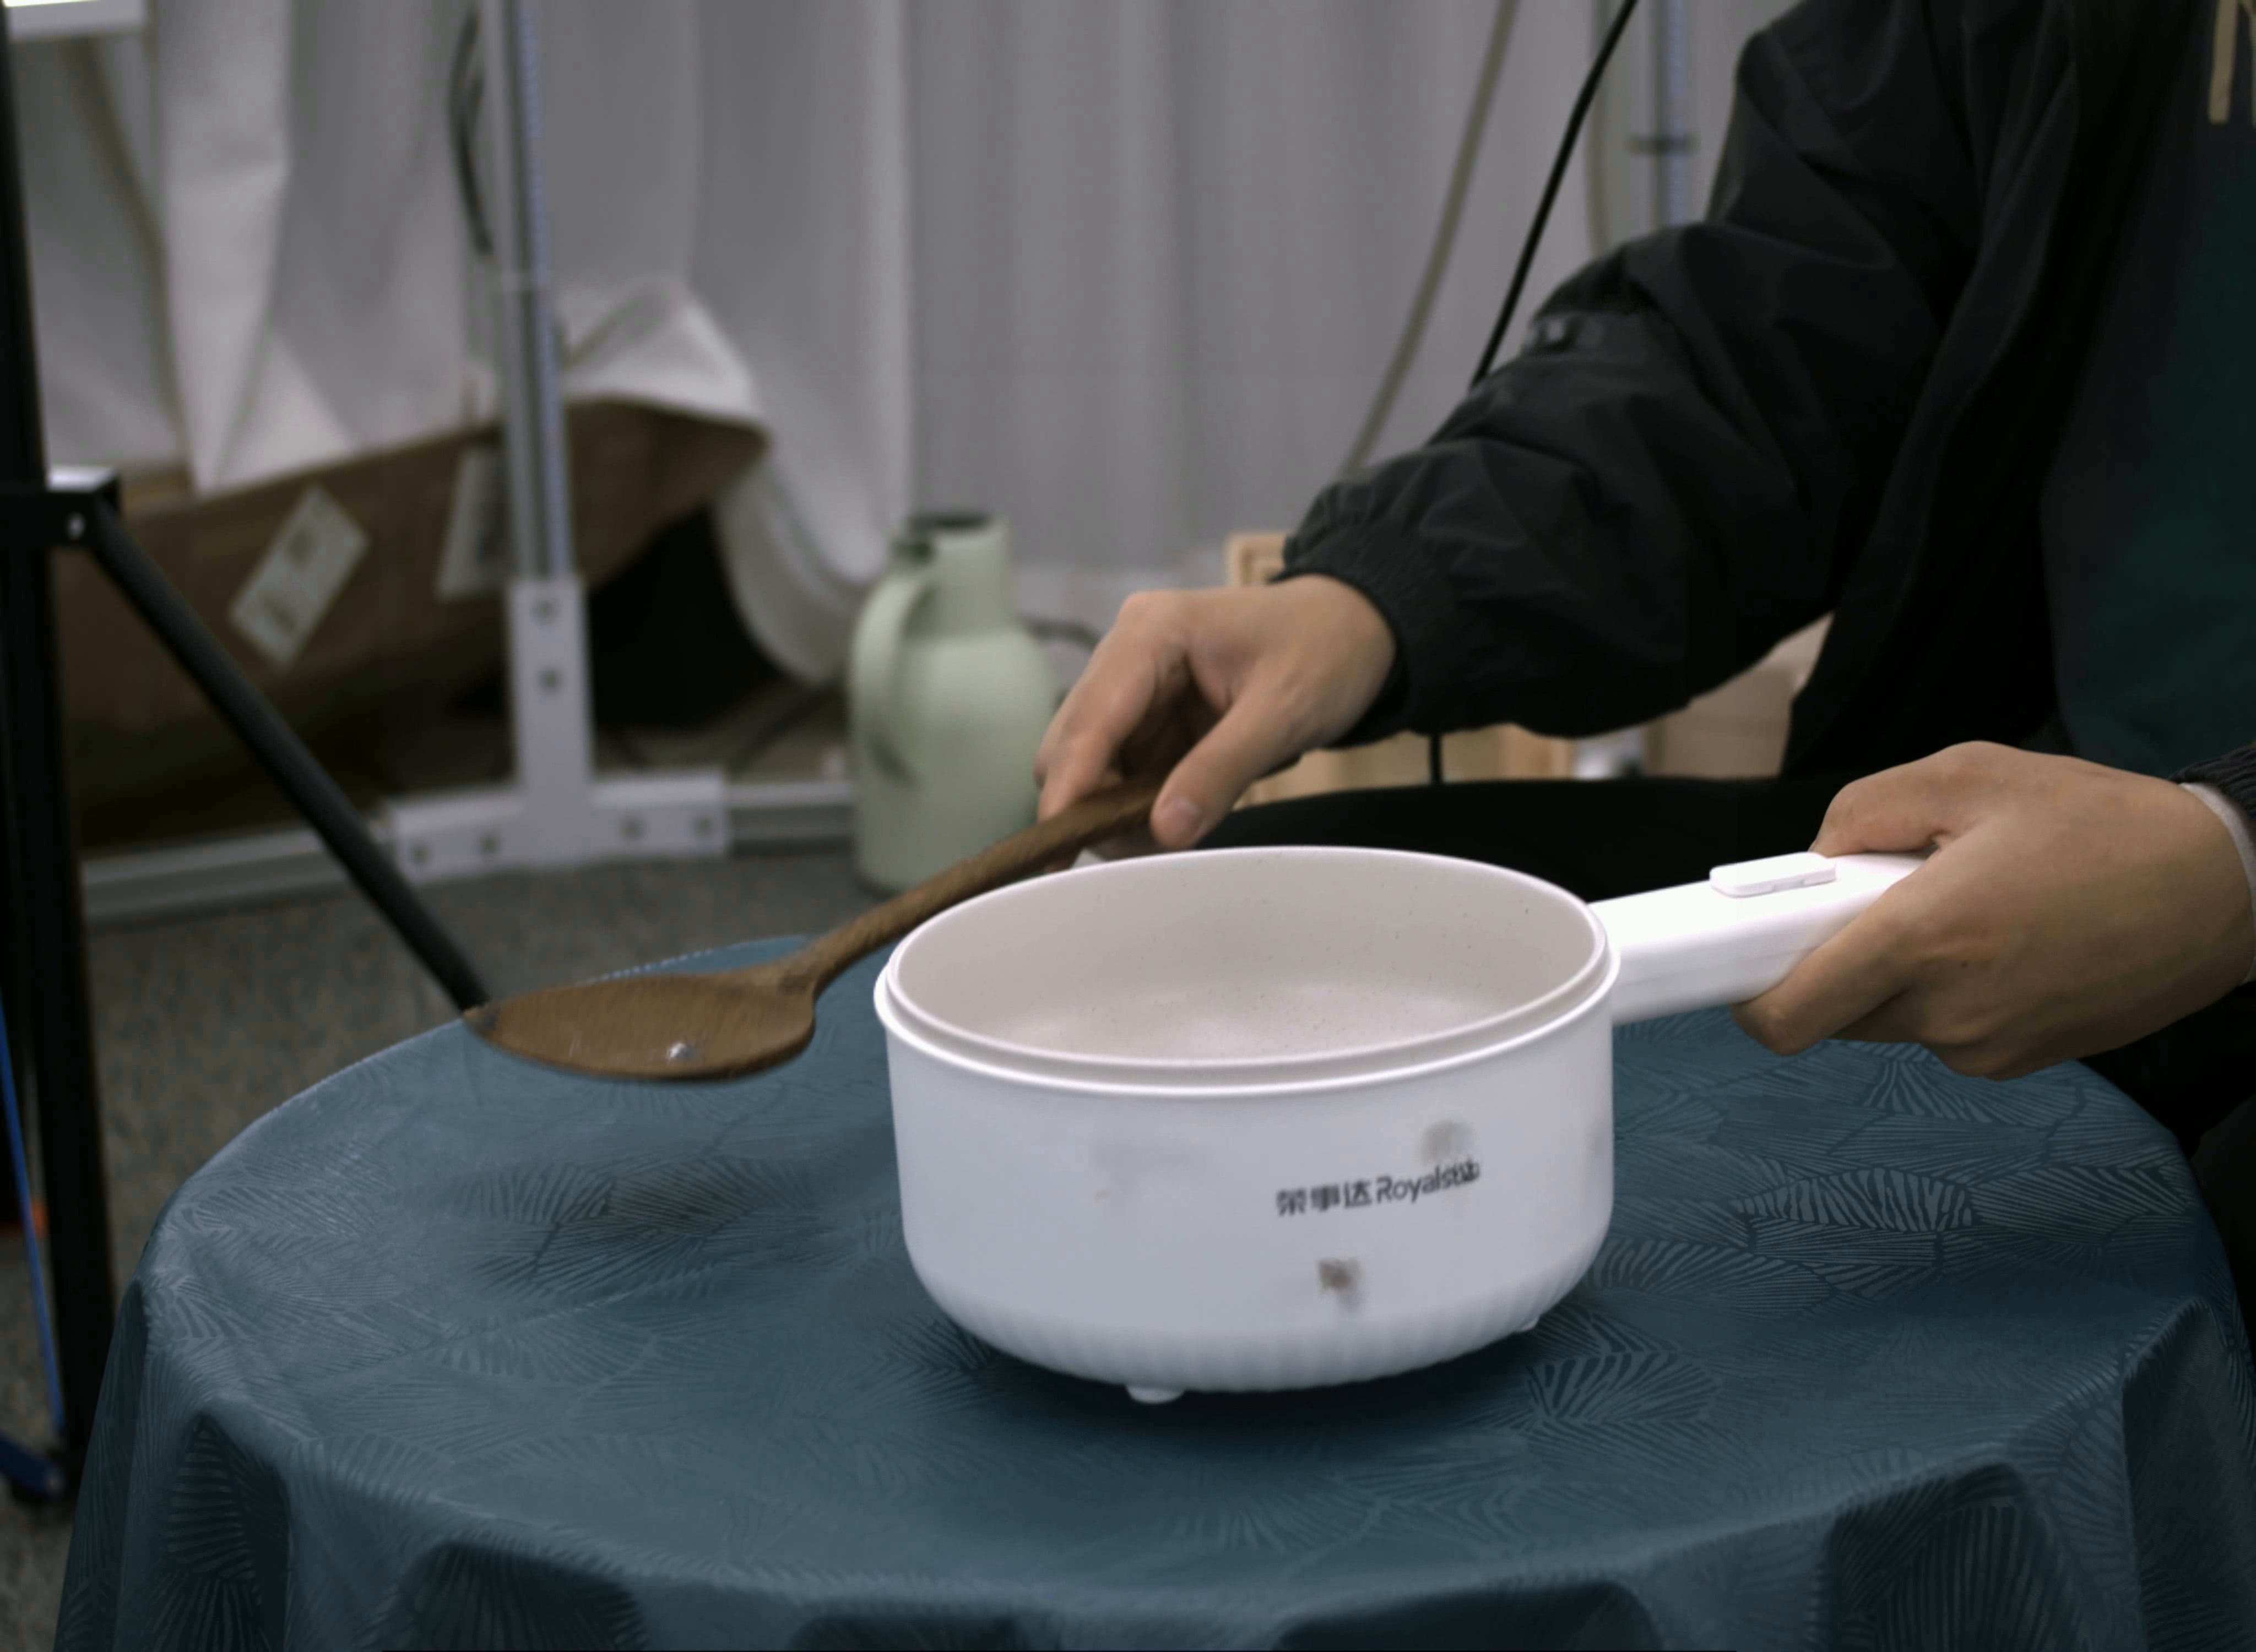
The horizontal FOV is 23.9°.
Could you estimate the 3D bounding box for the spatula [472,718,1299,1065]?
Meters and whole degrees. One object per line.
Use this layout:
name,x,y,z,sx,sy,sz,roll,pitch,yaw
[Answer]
spatula,-0.055,0.015,1.669,0.098,0.016,0.378,11,21,34

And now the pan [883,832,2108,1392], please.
pan,0.107,0.071,1.459,0.348,0.102,0.205,-7,15,-19
